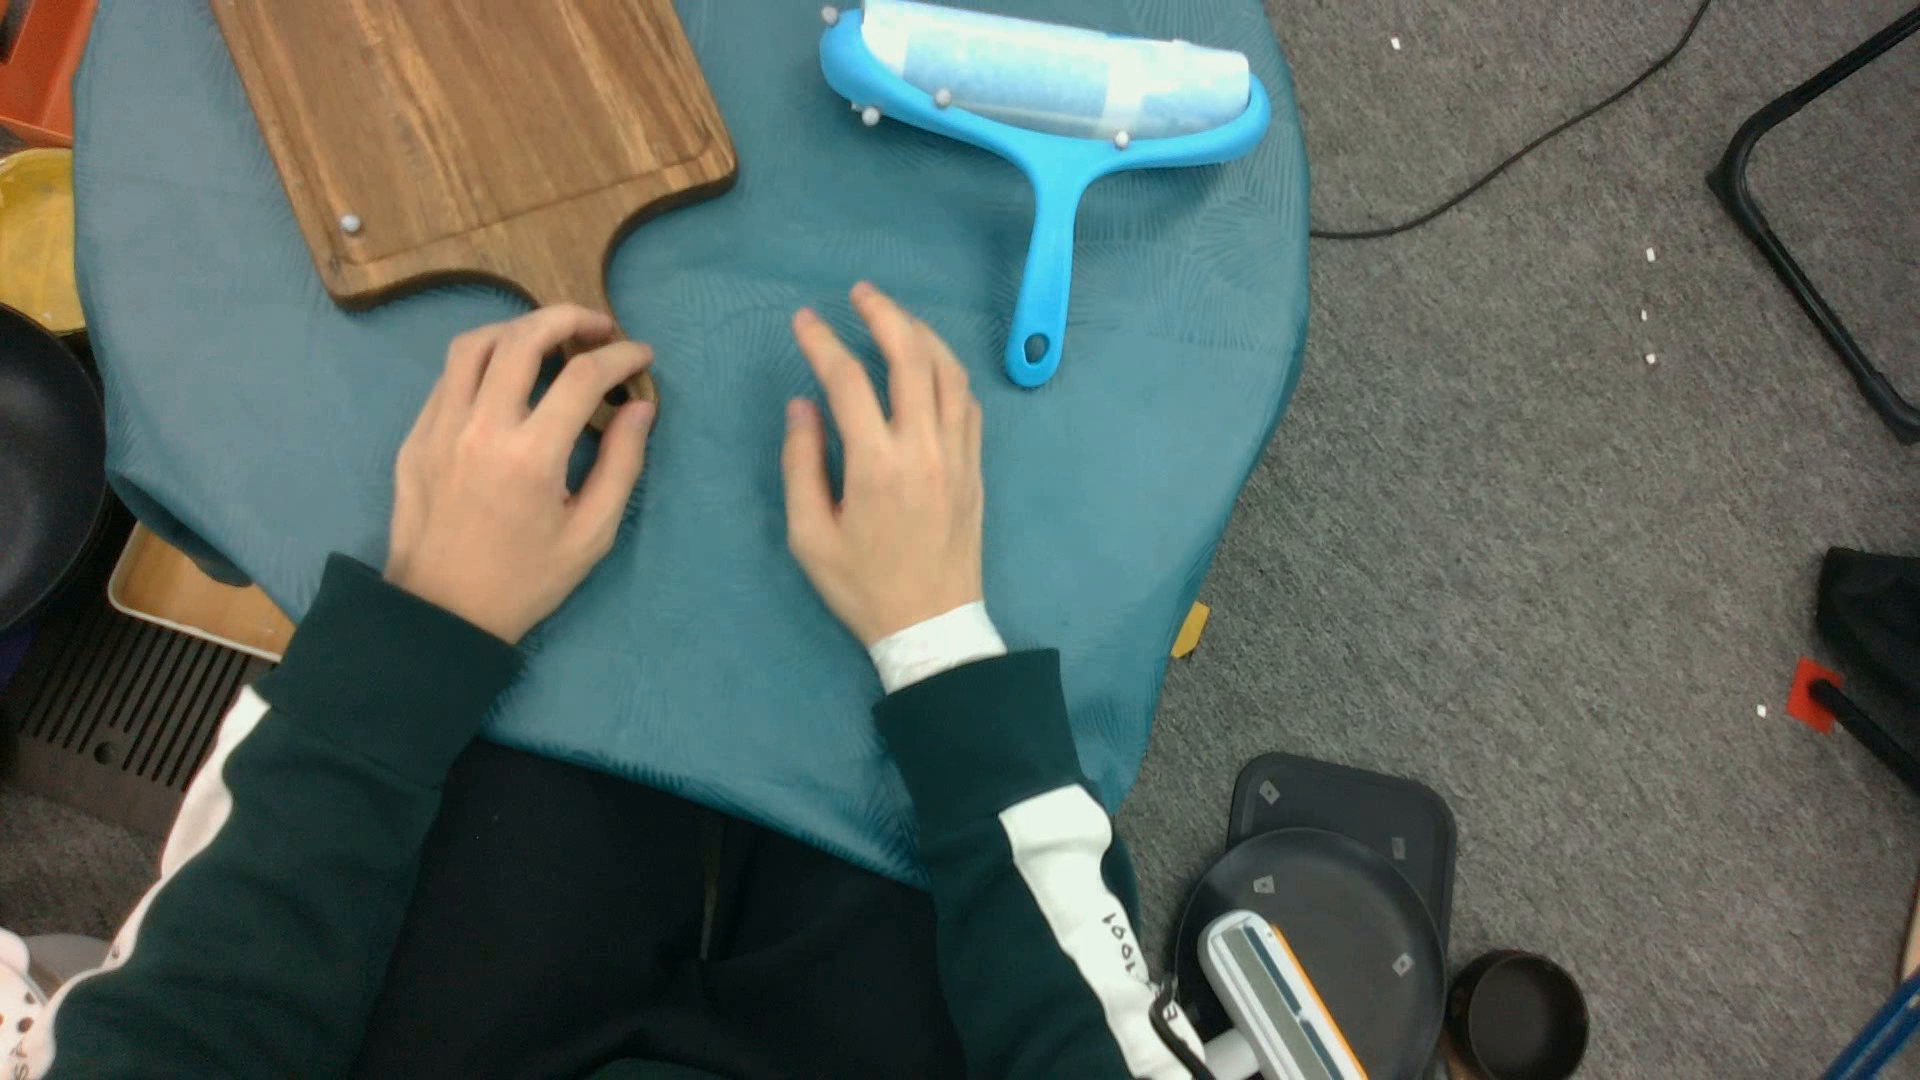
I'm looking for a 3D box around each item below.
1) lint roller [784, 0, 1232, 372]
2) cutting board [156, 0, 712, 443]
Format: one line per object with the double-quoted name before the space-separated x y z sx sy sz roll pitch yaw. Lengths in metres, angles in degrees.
"lint roller" 0.029 -0.178 0.681 0.229 0.068 0.180 0 77 -13
"cutting board" -0.238 -0.203 0.648 0.201 0.023 0.352 -25 84 -15
